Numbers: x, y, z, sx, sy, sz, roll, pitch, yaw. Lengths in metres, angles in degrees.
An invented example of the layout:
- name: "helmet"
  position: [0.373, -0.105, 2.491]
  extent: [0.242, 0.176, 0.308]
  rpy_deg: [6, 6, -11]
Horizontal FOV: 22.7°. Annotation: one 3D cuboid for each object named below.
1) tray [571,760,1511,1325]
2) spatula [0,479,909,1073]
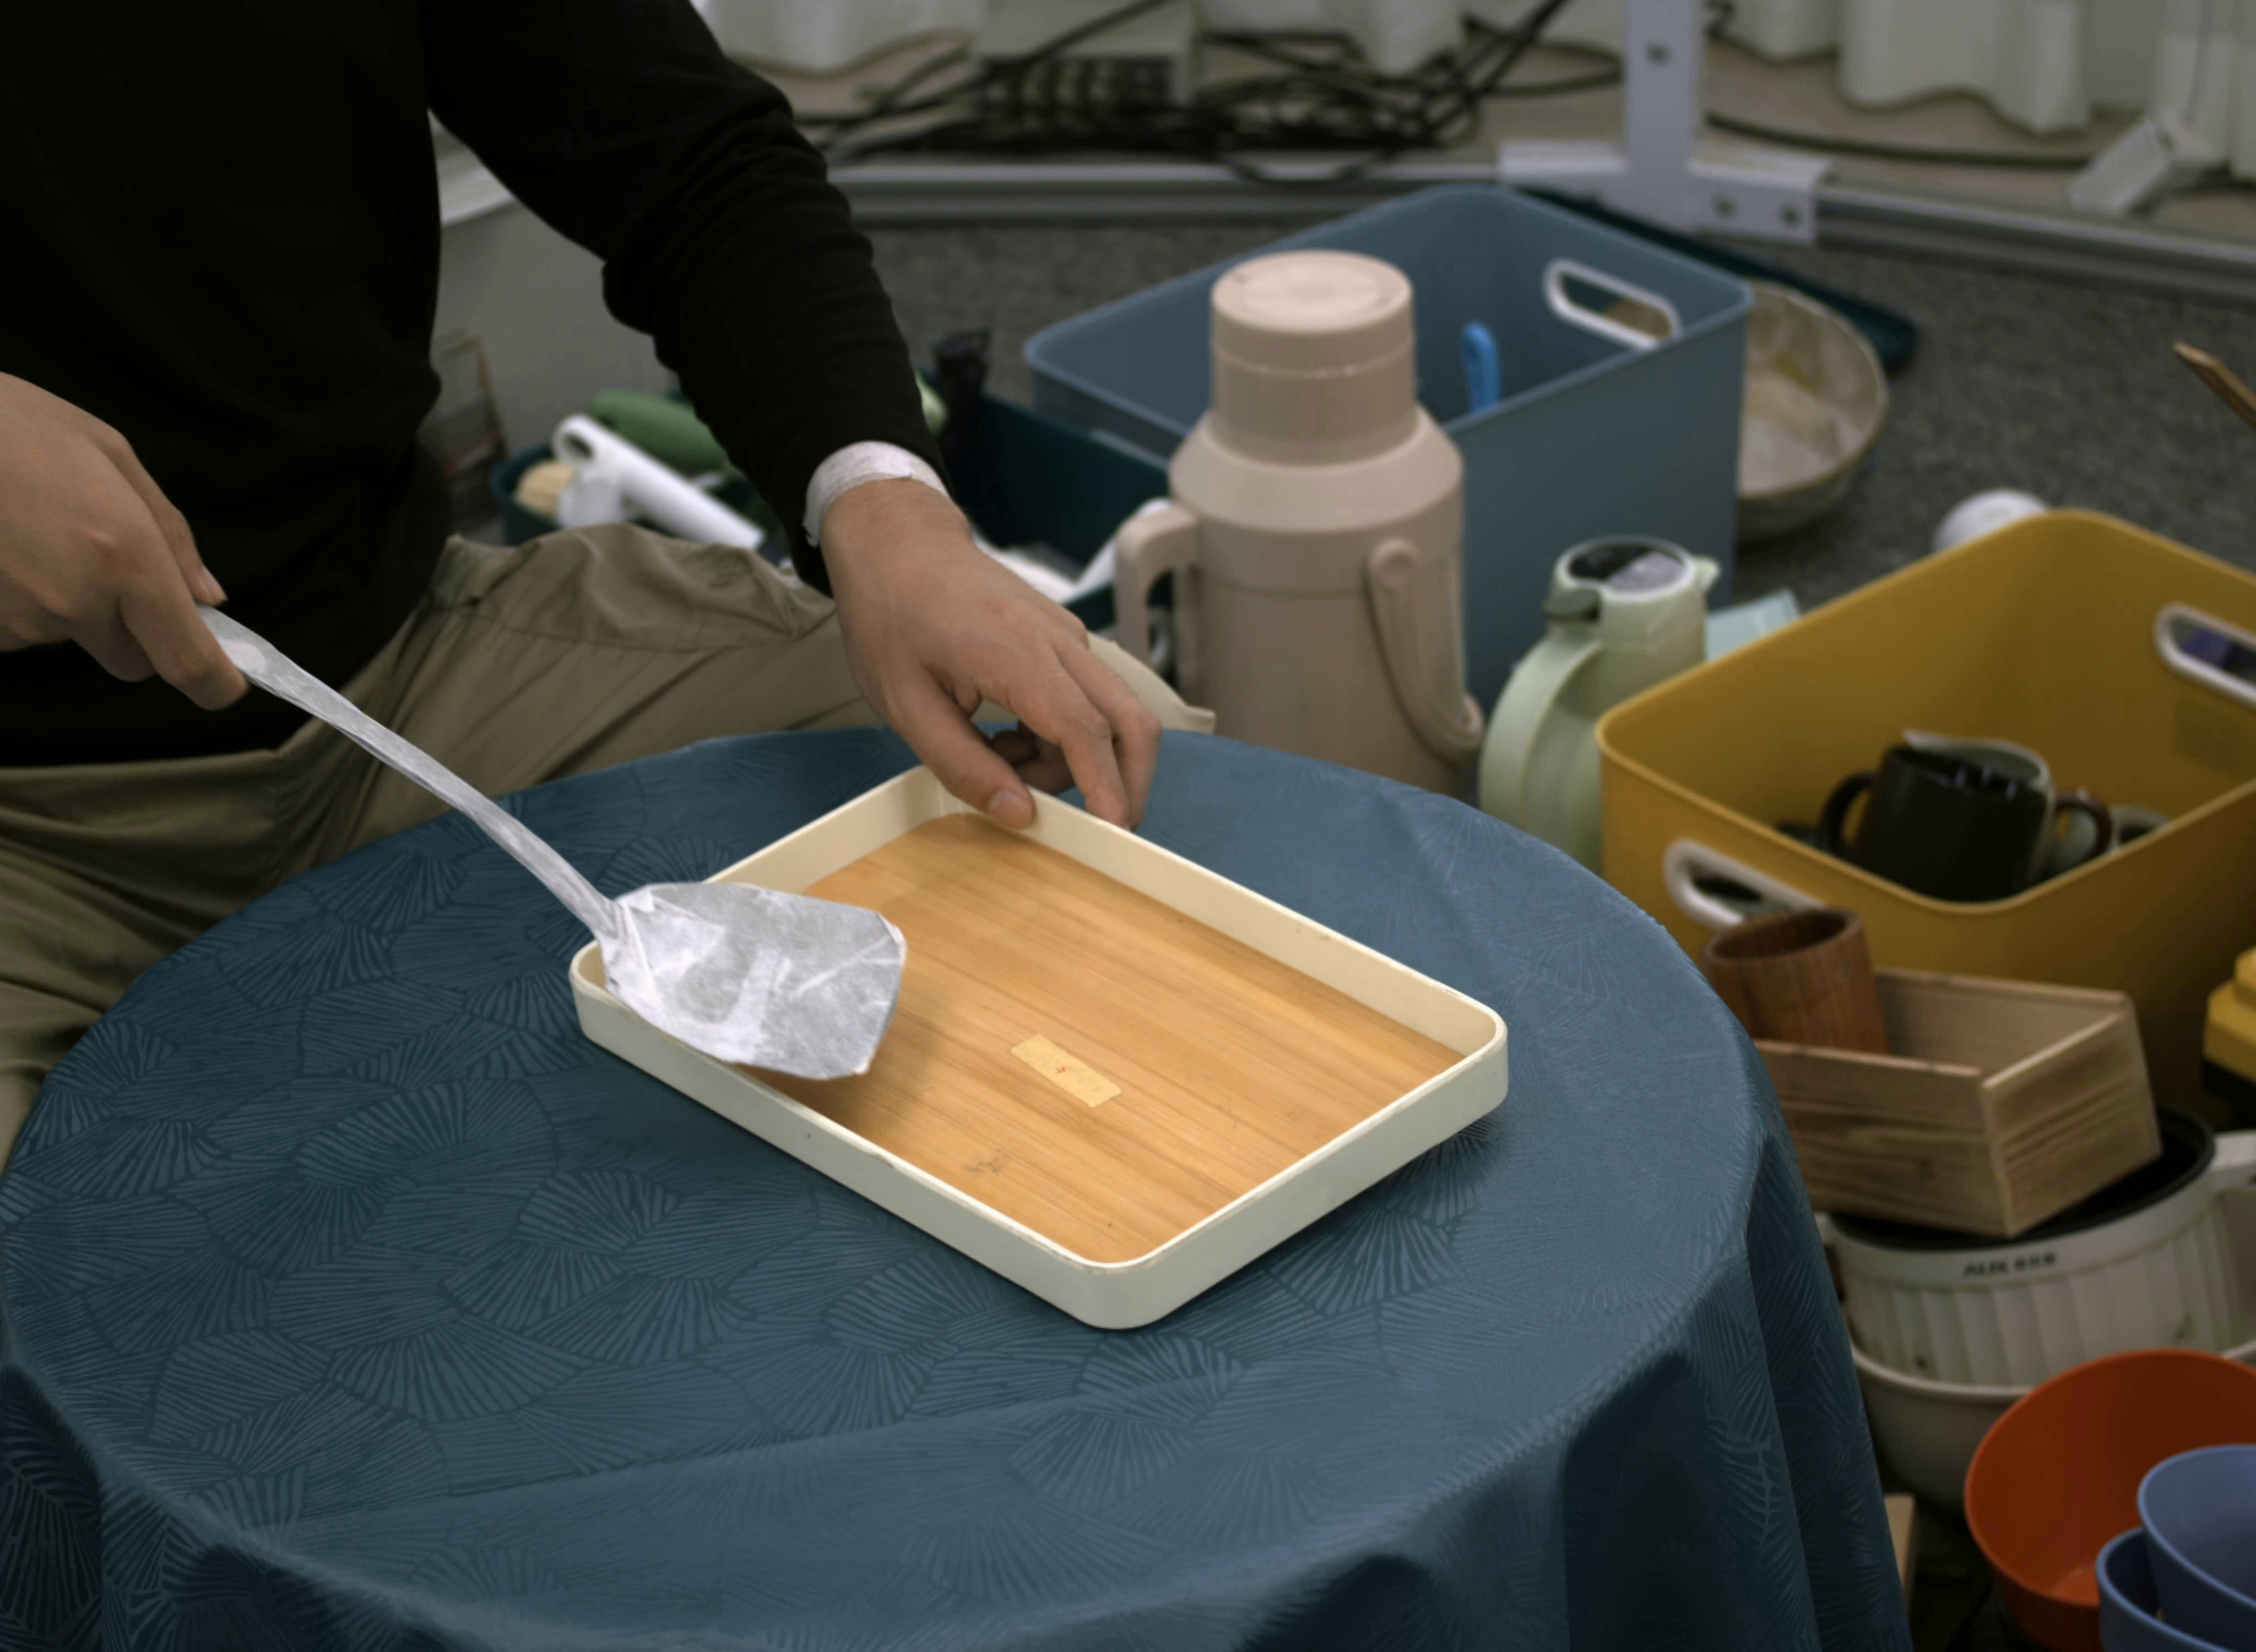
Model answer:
- name: "tray"
  position: [-0.033, 0.068, 1.924]
  extent: [0.194, 0.027, 0.300]
  rpy_deg: [-28, 36, -33]
- name: "spatula"
  position: [-0.237, -0.025, 1.881]
  extent: [0.364, 0.044, 0.100]
  rpy_deg: [34, 35, -10]
